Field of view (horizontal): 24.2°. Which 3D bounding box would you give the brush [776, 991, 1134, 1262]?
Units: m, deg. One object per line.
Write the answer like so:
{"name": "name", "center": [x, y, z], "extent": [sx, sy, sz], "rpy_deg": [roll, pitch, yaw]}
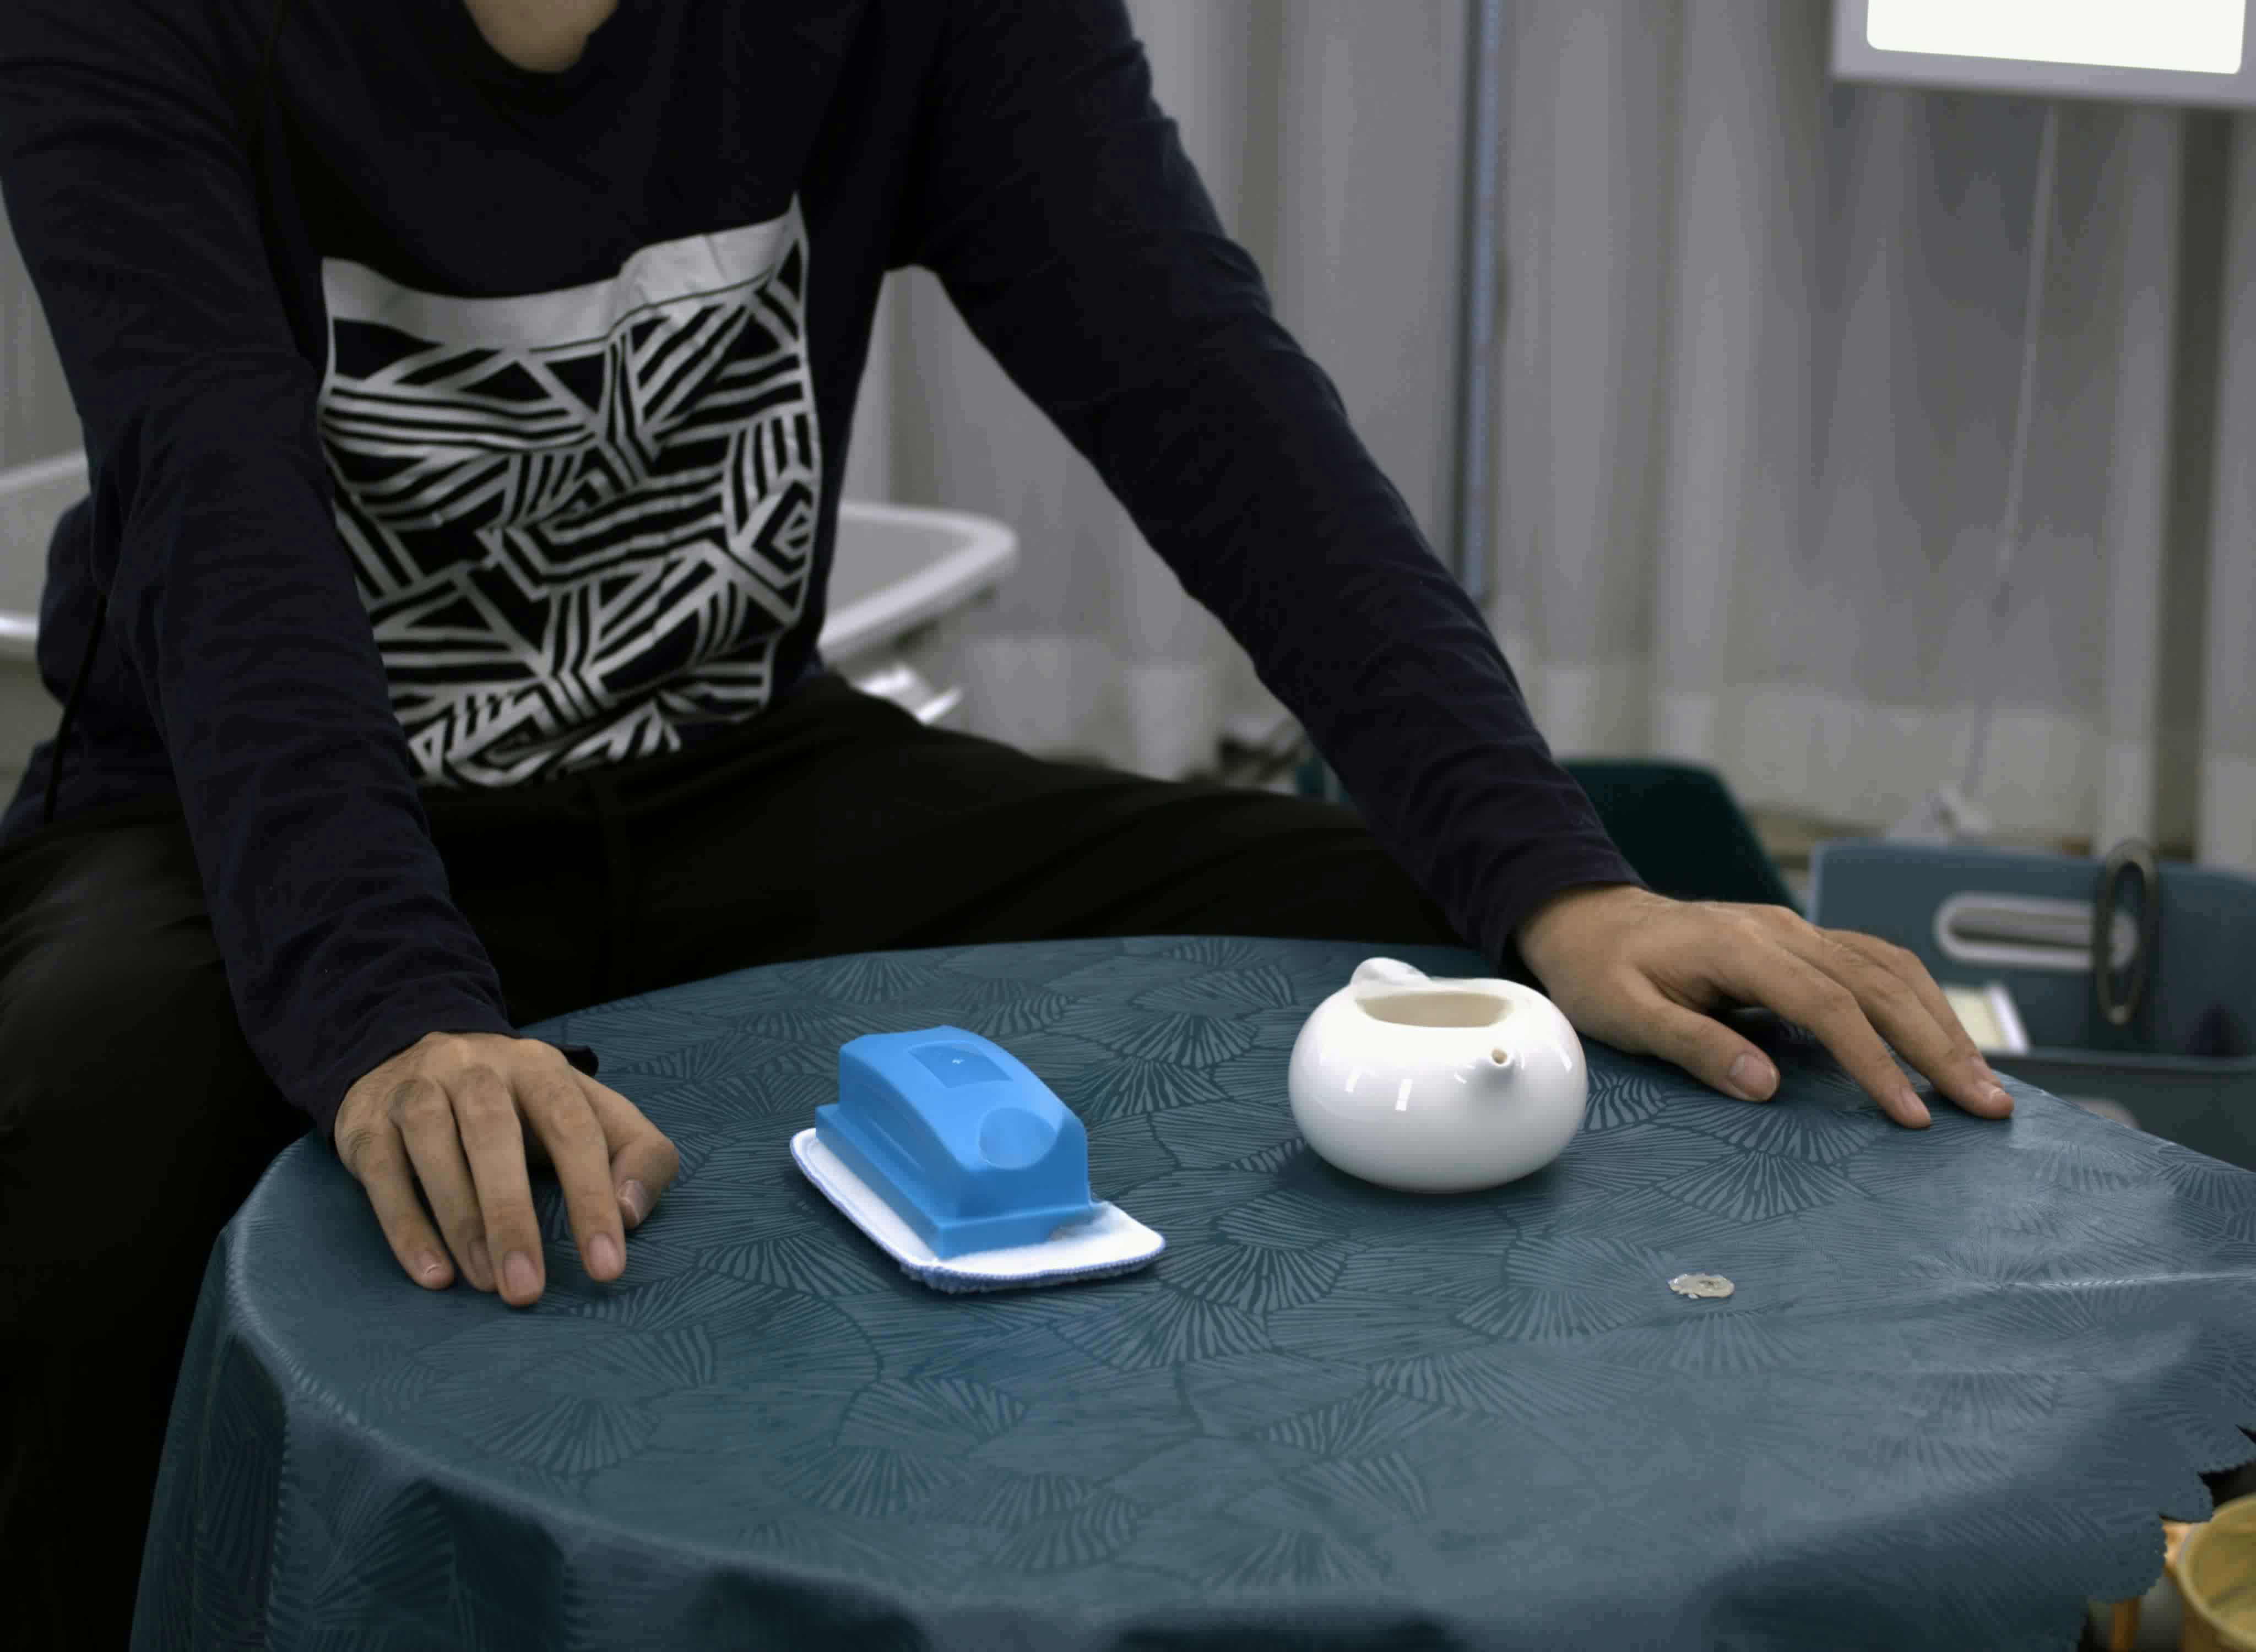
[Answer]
{"name": "brush", "center": [-0.051, 0.088, 1.596], "extent": [0.084, 0.056, 0.142], "rpy_deg": [-1, 18, -20]}

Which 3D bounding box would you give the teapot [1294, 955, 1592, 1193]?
{"name": "teapot", "center": [0.094, 0.077, 1.654], "extent": [0.094, 0.057, 0.126], "rpy_deg": [-10, 18, -23]}
